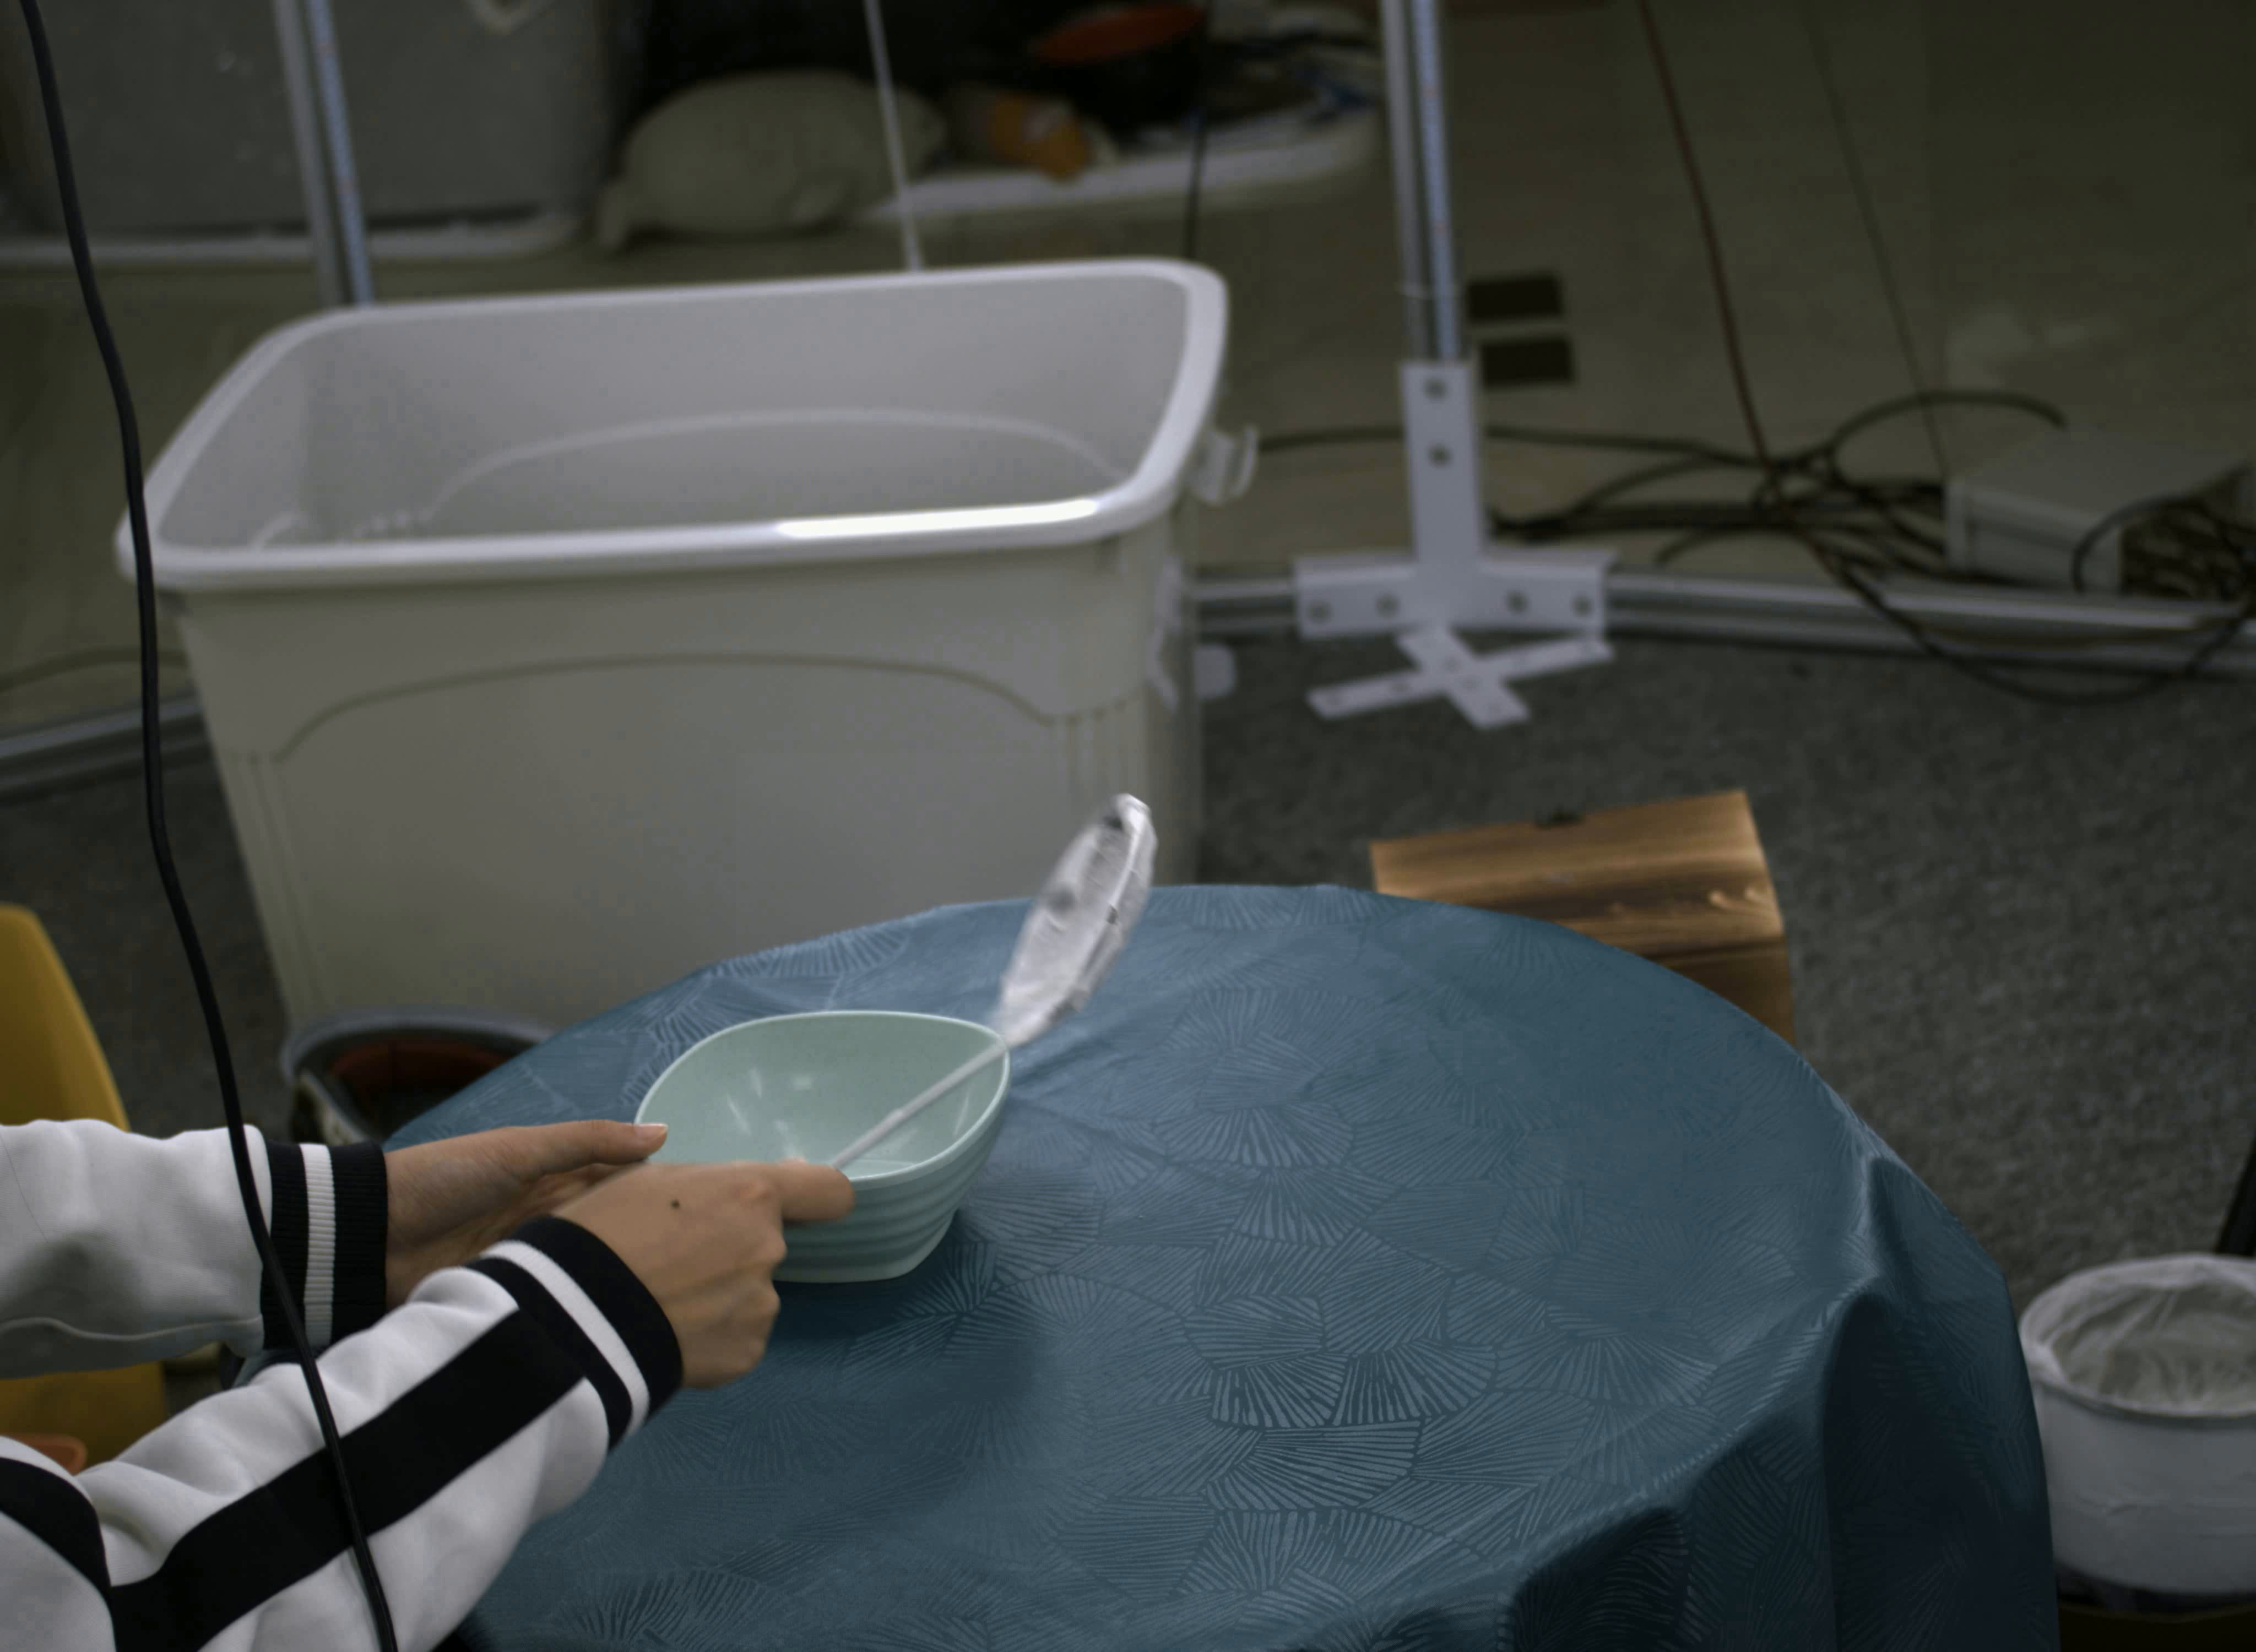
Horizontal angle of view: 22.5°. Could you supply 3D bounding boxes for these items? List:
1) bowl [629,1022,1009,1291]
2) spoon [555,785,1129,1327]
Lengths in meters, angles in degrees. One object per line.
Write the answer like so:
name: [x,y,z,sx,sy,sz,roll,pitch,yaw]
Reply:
bowl: [-0.112,0.129,2.134,0.151,0.059,0.149,-5,25,3]
spoon: [-0.101,0.078,1.944,0.275,0.059,0.101,-33,-2,-26]
